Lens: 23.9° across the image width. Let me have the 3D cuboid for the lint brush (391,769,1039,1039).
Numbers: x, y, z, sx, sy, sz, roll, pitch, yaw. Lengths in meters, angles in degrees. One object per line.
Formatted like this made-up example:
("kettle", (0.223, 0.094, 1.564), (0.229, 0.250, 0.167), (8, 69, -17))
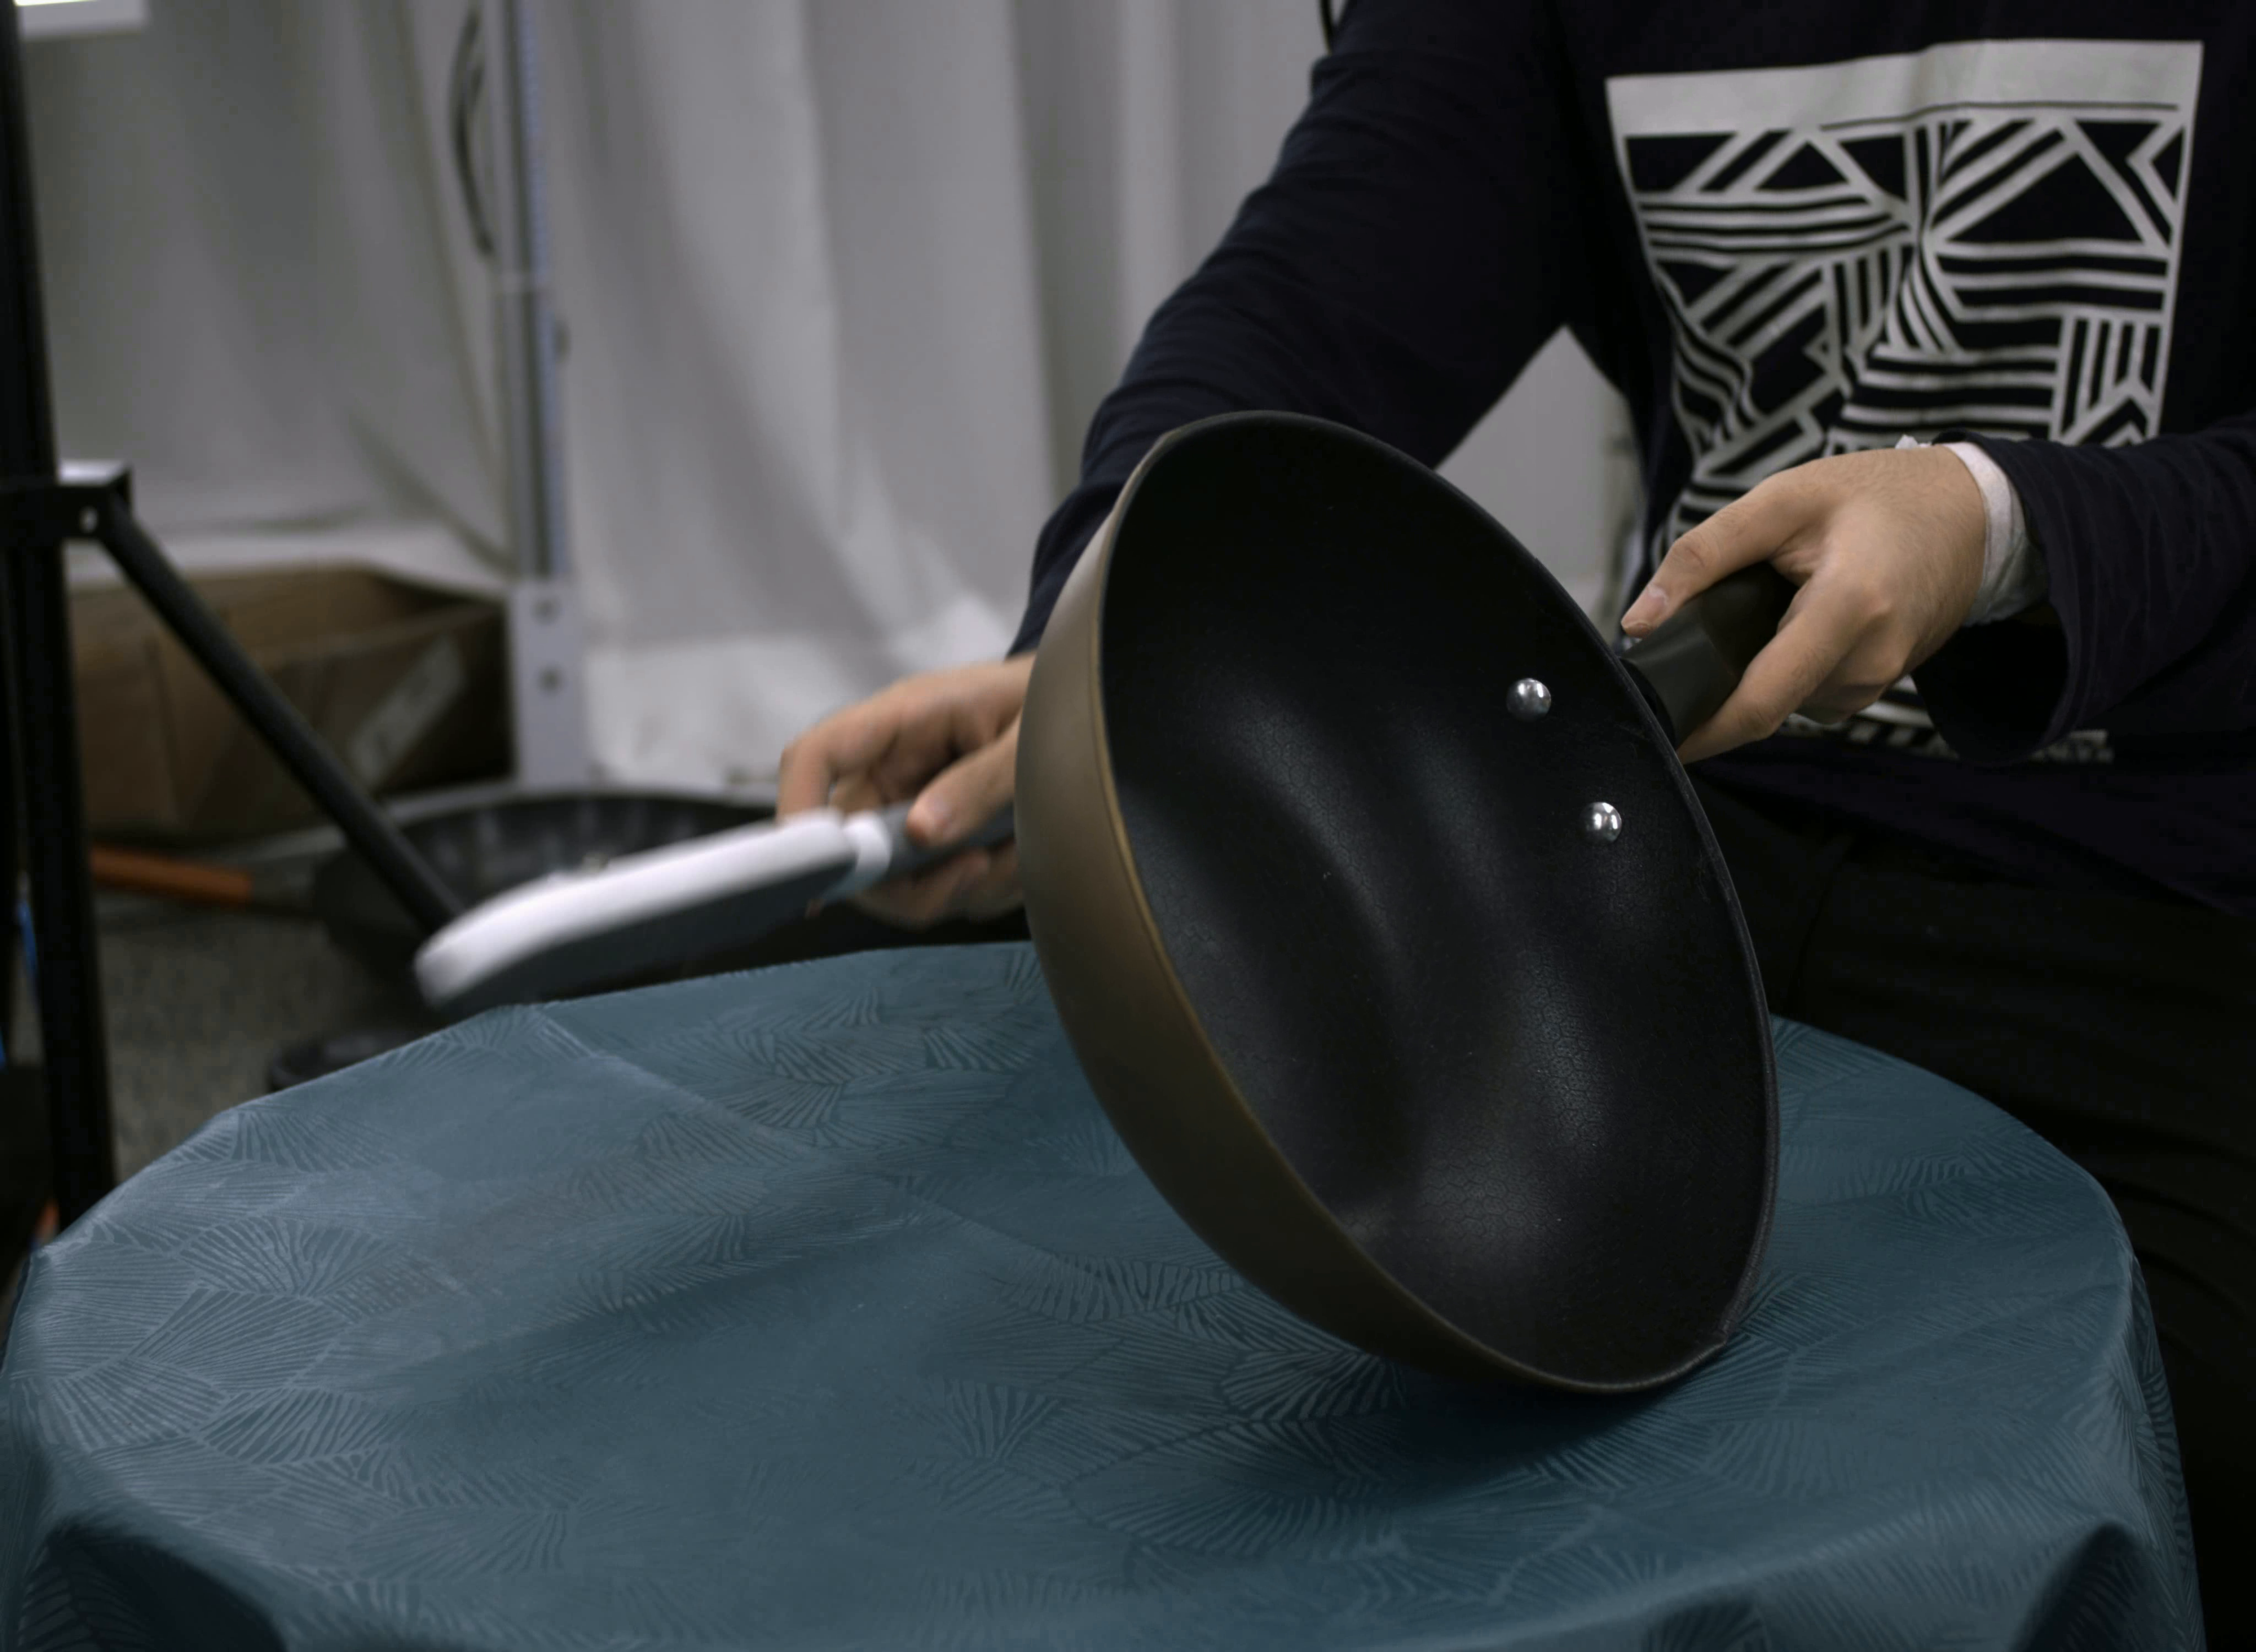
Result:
("lint brush", (-0.108, 0.017, 1.577), (0.061, 0.021, 0.302), (-38, -12, 34))

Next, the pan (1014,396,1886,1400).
("pan", (0.100, -0.001, 1.499), (0.088, 0.288, 0.456), (-28, 5, 34))
